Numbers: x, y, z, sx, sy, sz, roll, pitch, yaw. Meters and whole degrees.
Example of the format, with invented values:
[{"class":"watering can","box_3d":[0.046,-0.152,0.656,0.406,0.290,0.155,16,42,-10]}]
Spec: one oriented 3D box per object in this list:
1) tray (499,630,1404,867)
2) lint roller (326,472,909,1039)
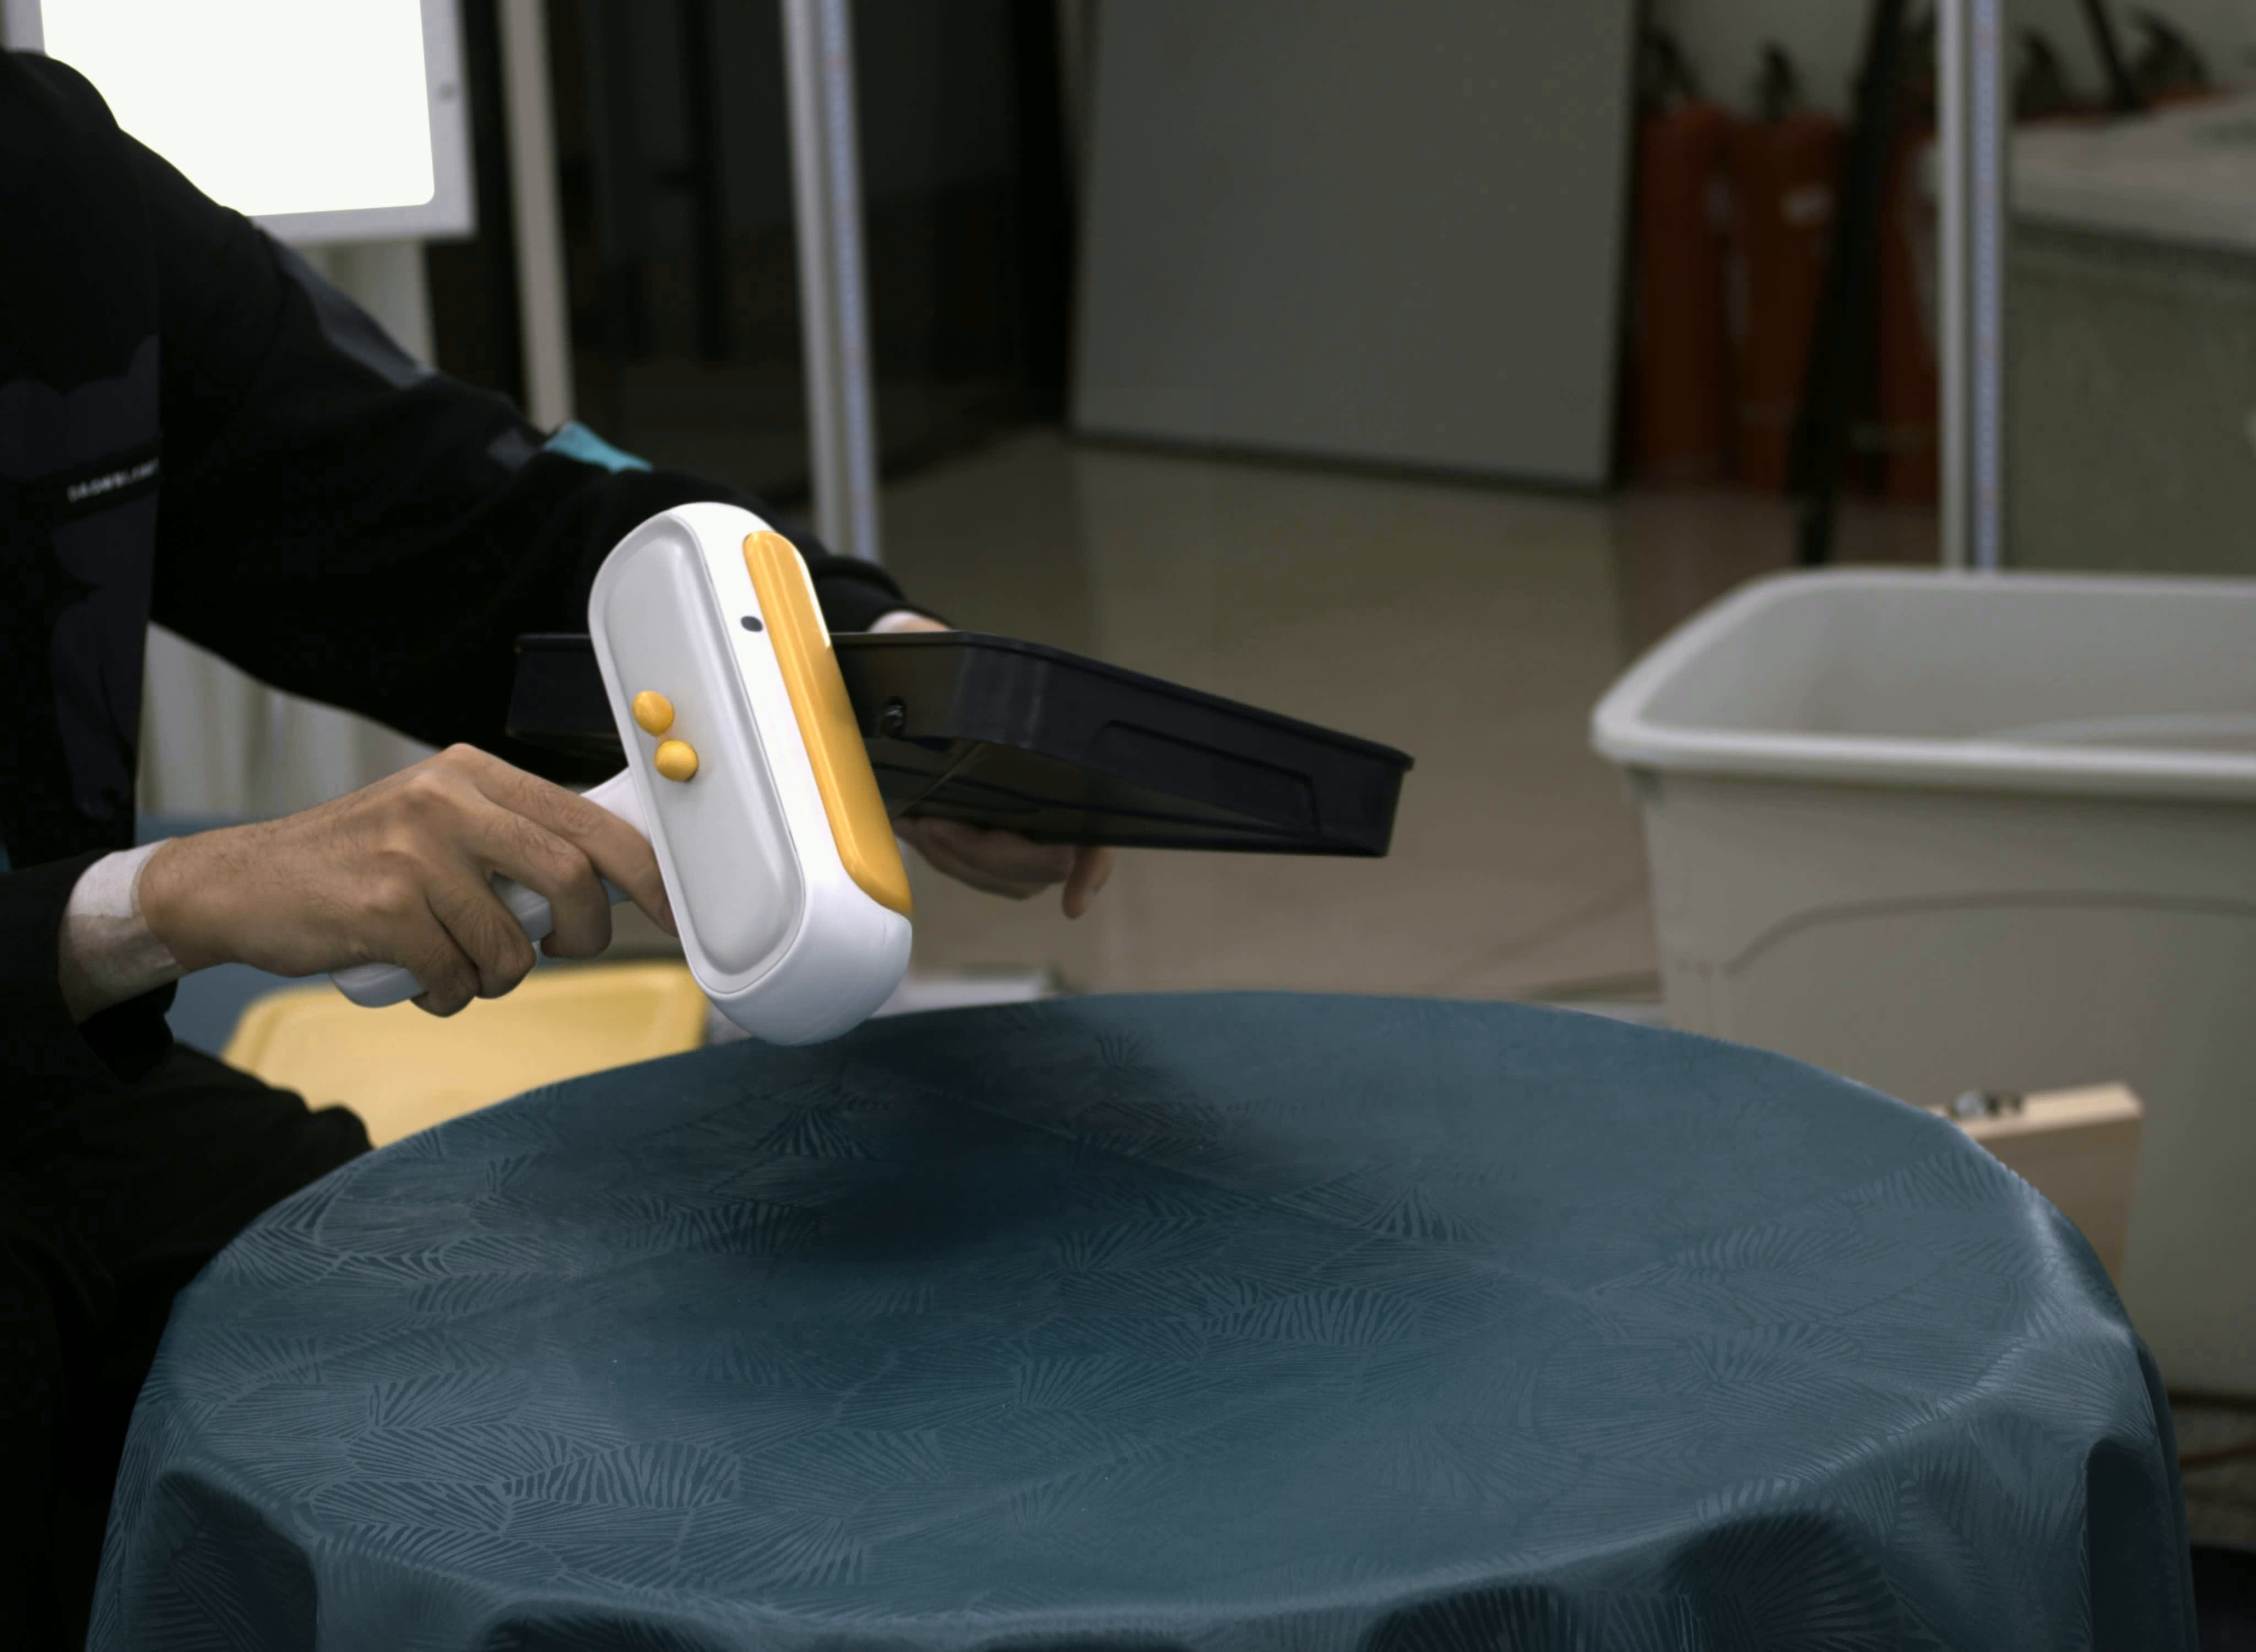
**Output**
[{"class":"tray","box_3d":[-0.067,-0.027,1.836,0.180,0.037,0.321,16,-8,-35]},{"class":"lint roller","box_3d":[-0.171,0.005,1.727,0.193,0.195,0.073,-37,-32,20]}]
